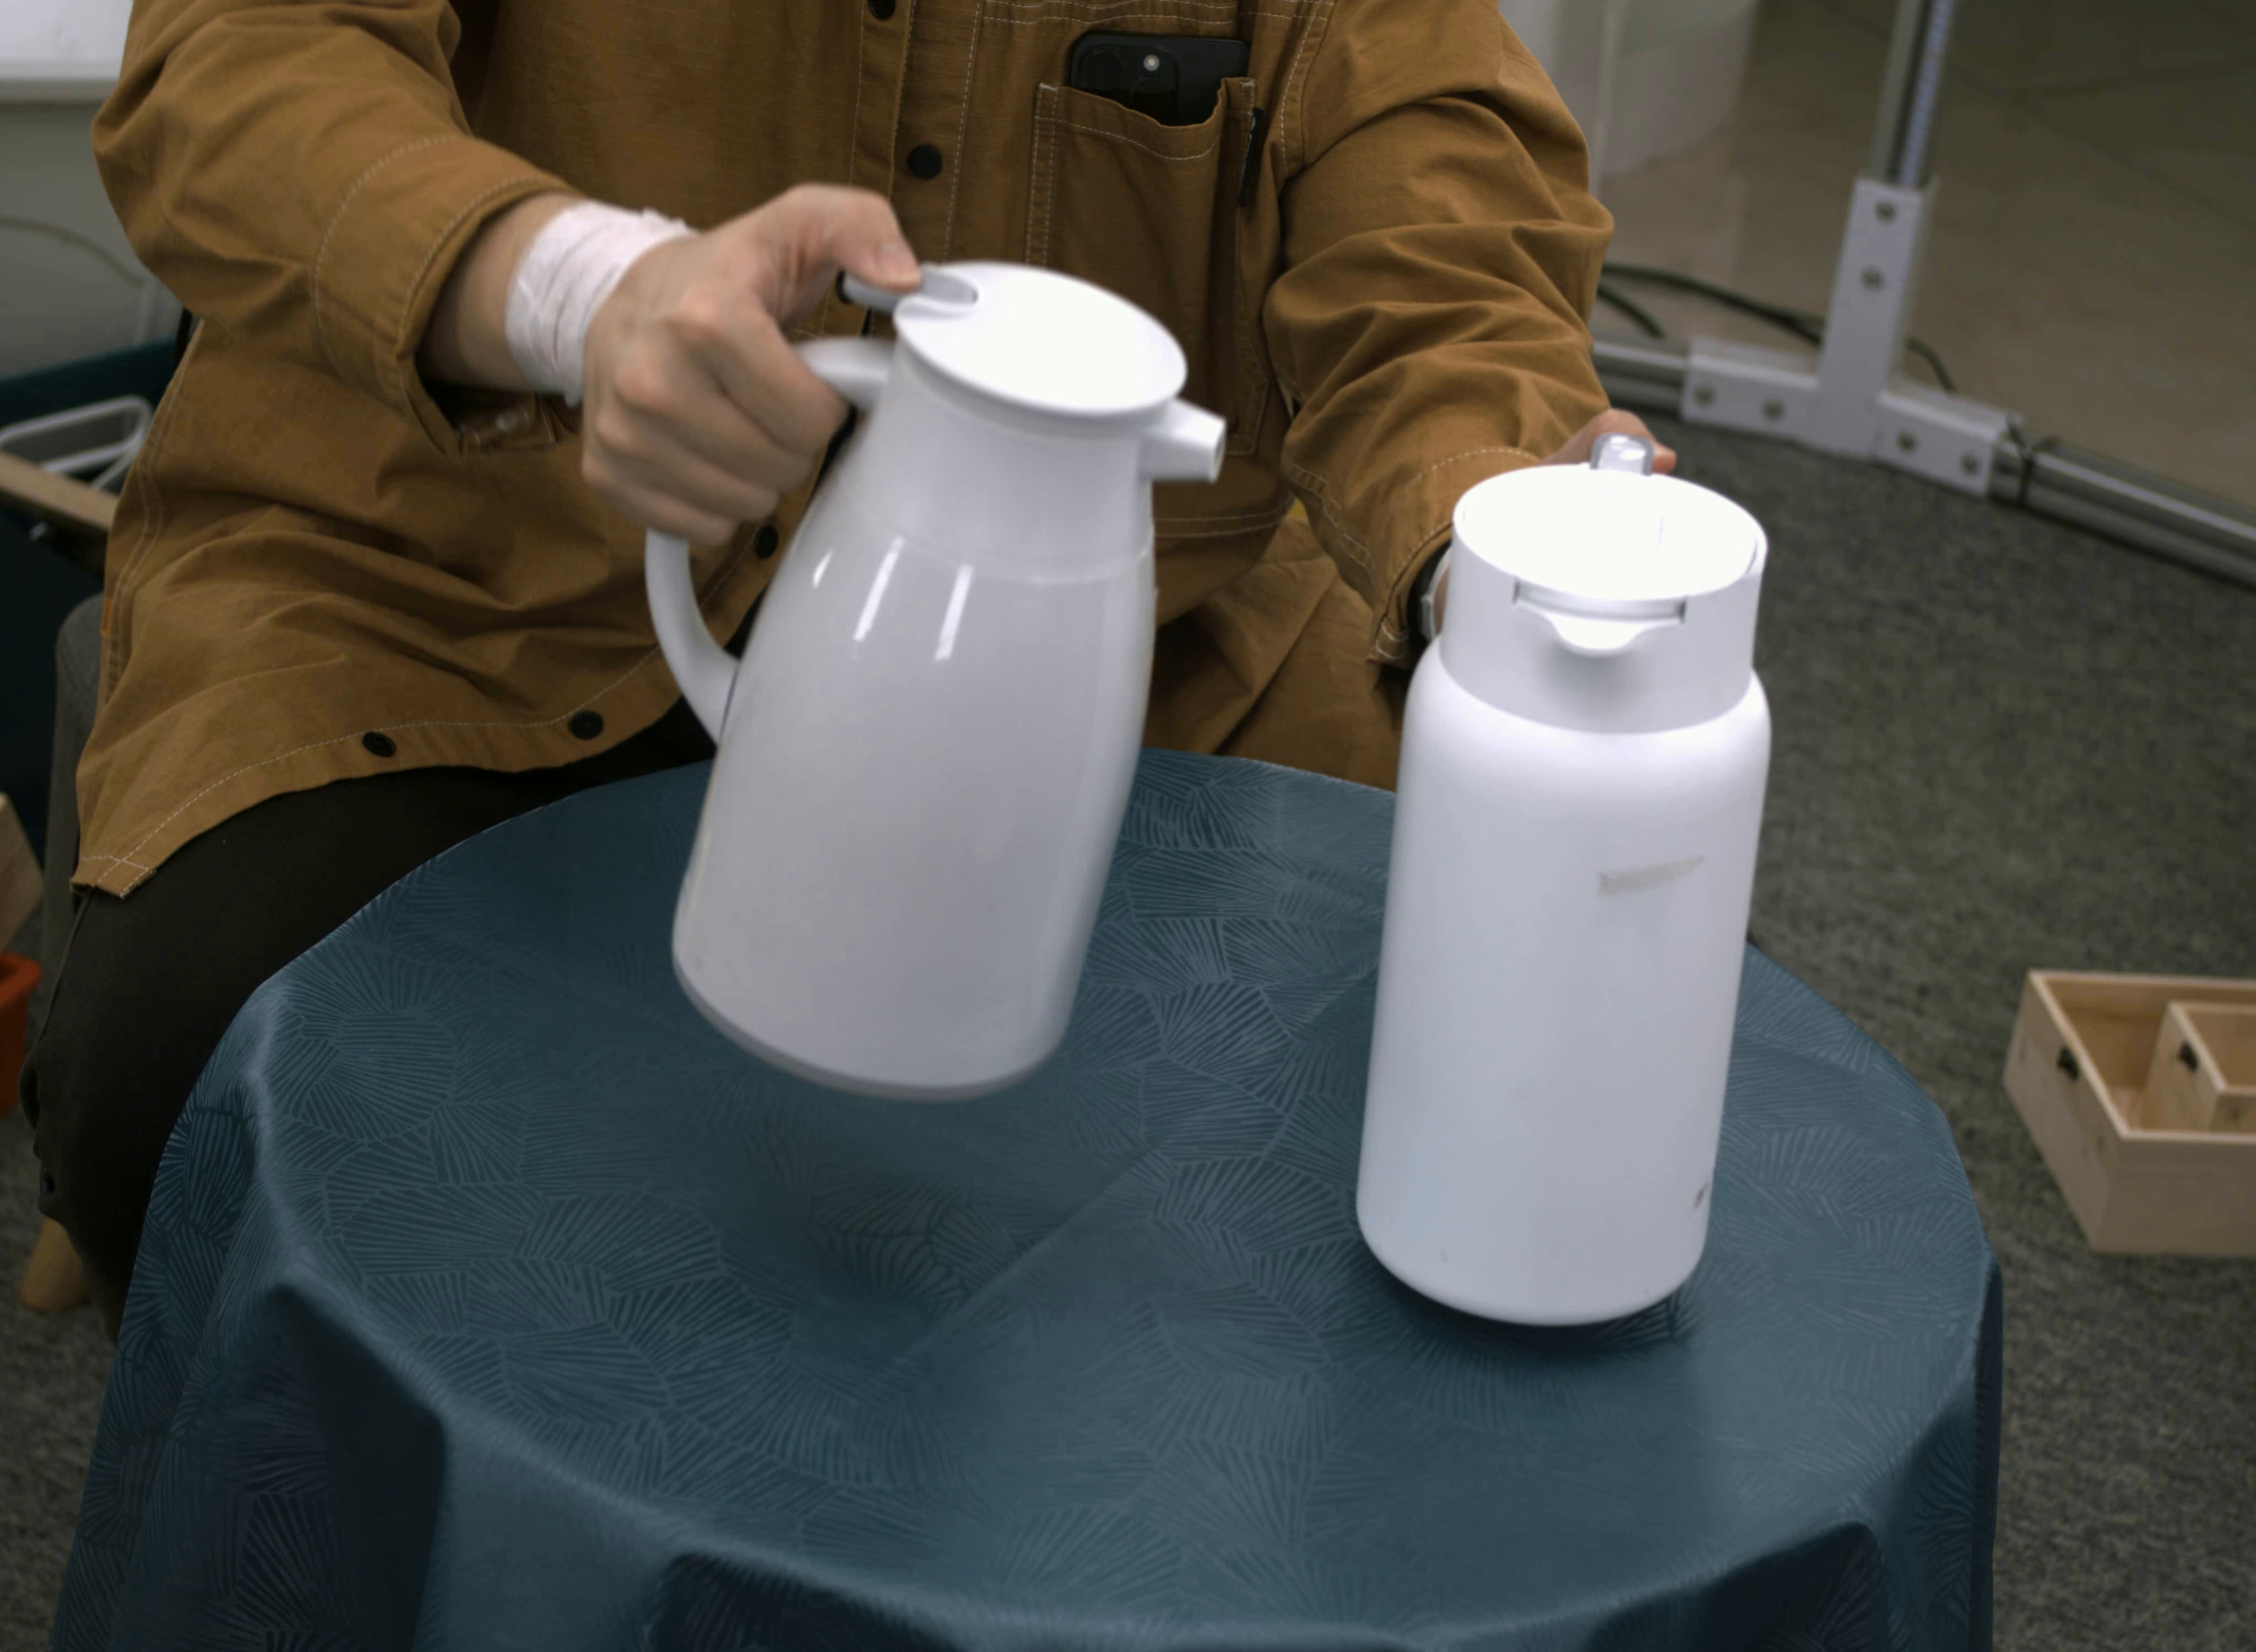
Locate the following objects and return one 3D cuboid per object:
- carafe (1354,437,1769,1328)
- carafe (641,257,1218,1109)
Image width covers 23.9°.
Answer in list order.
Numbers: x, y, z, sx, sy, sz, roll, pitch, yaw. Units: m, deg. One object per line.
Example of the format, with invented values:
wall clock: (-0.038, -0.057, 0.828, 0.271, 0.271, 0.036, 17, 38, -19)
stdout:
carafe: (0.142, 0.015, 1.731, 0.123, 0.268, 0.173, 5, 27, 6)
carafe: (-0.074, -0.055, 1.662, 0.167, 0.248, 0.133, 16, 29, 4)
